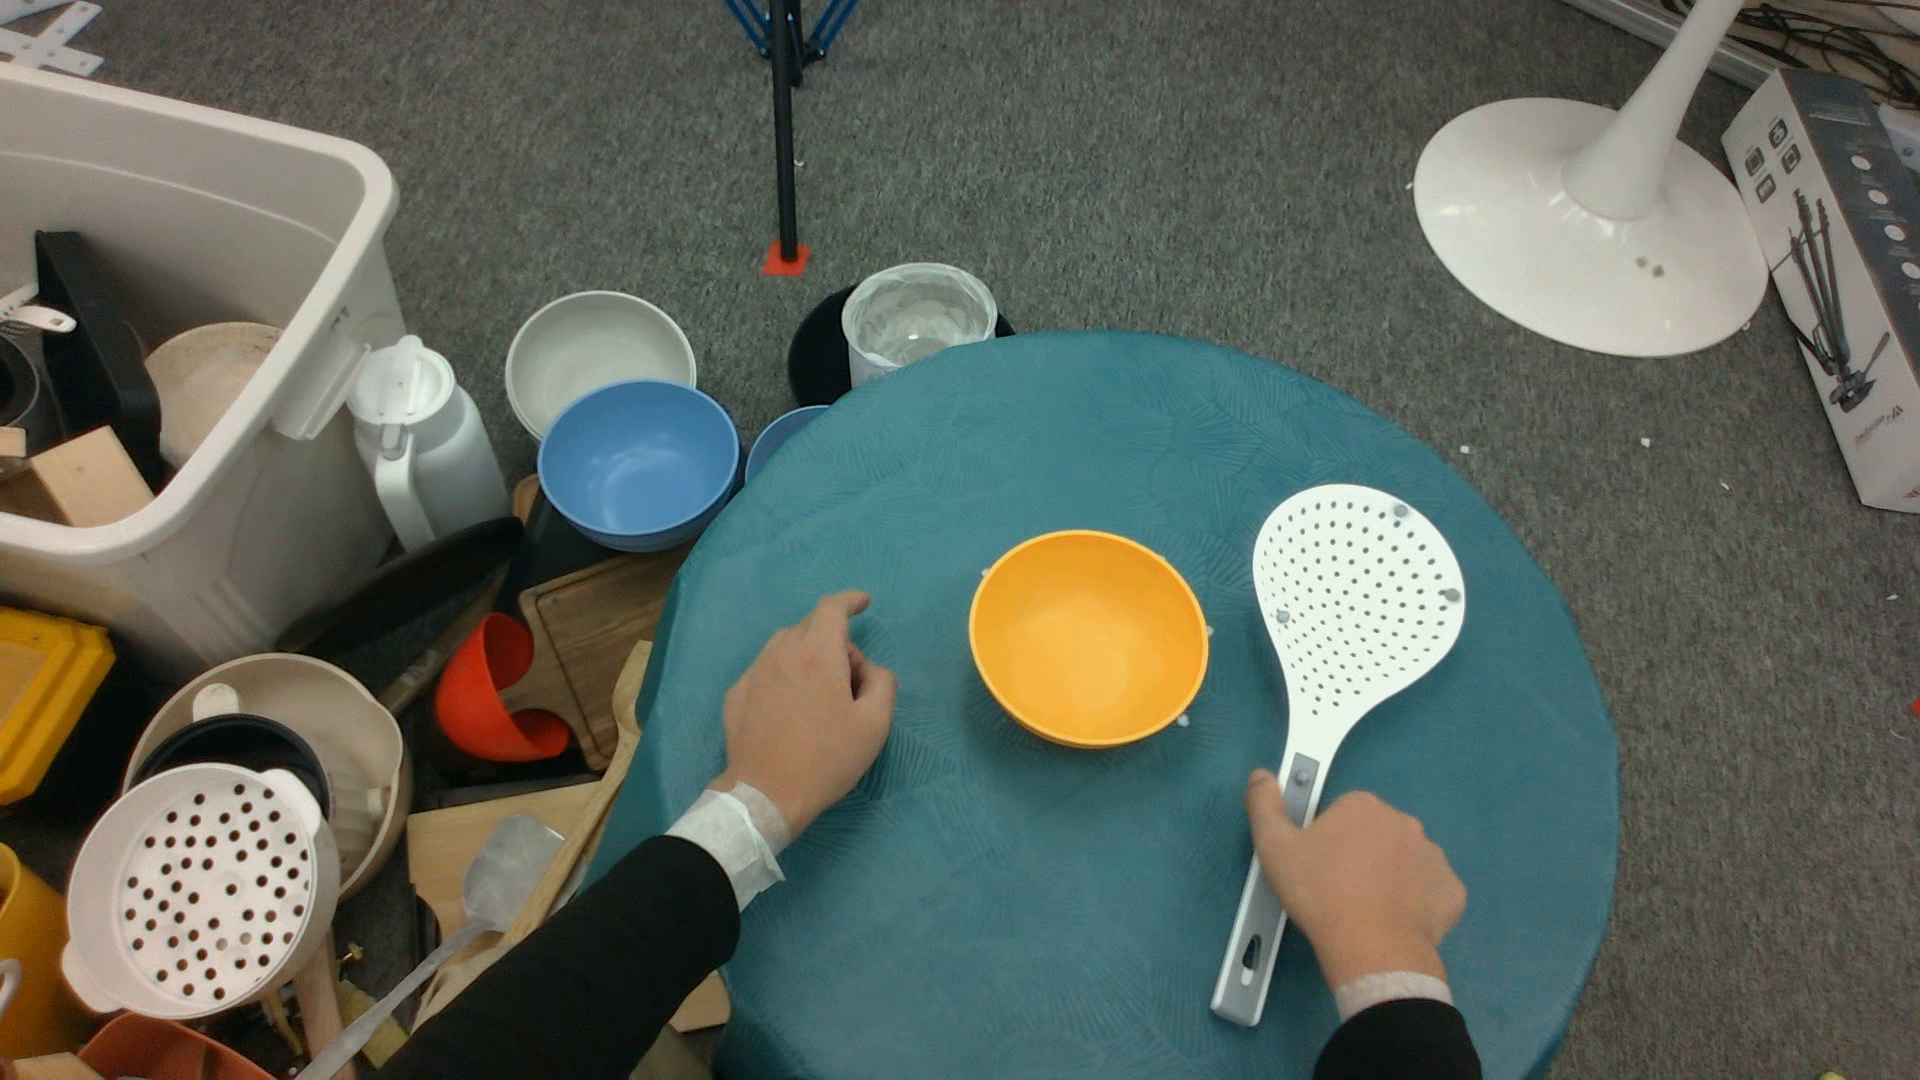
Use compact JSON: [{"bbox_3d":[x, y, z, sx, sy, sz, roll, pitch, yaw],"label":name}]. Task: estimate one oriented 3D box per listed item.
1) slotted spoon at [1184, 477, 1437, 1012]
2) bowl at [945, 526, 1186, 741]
[{"bbox_3d":[0.199,0.112,0.835,0.136,0.045,0.351,23,59,2],"label":"slotted spoon"},{"bbox_3d":[0.062,0.066,0.843,0.145,0.060,0.146,2,57,-3],"label":"bowl"}]
